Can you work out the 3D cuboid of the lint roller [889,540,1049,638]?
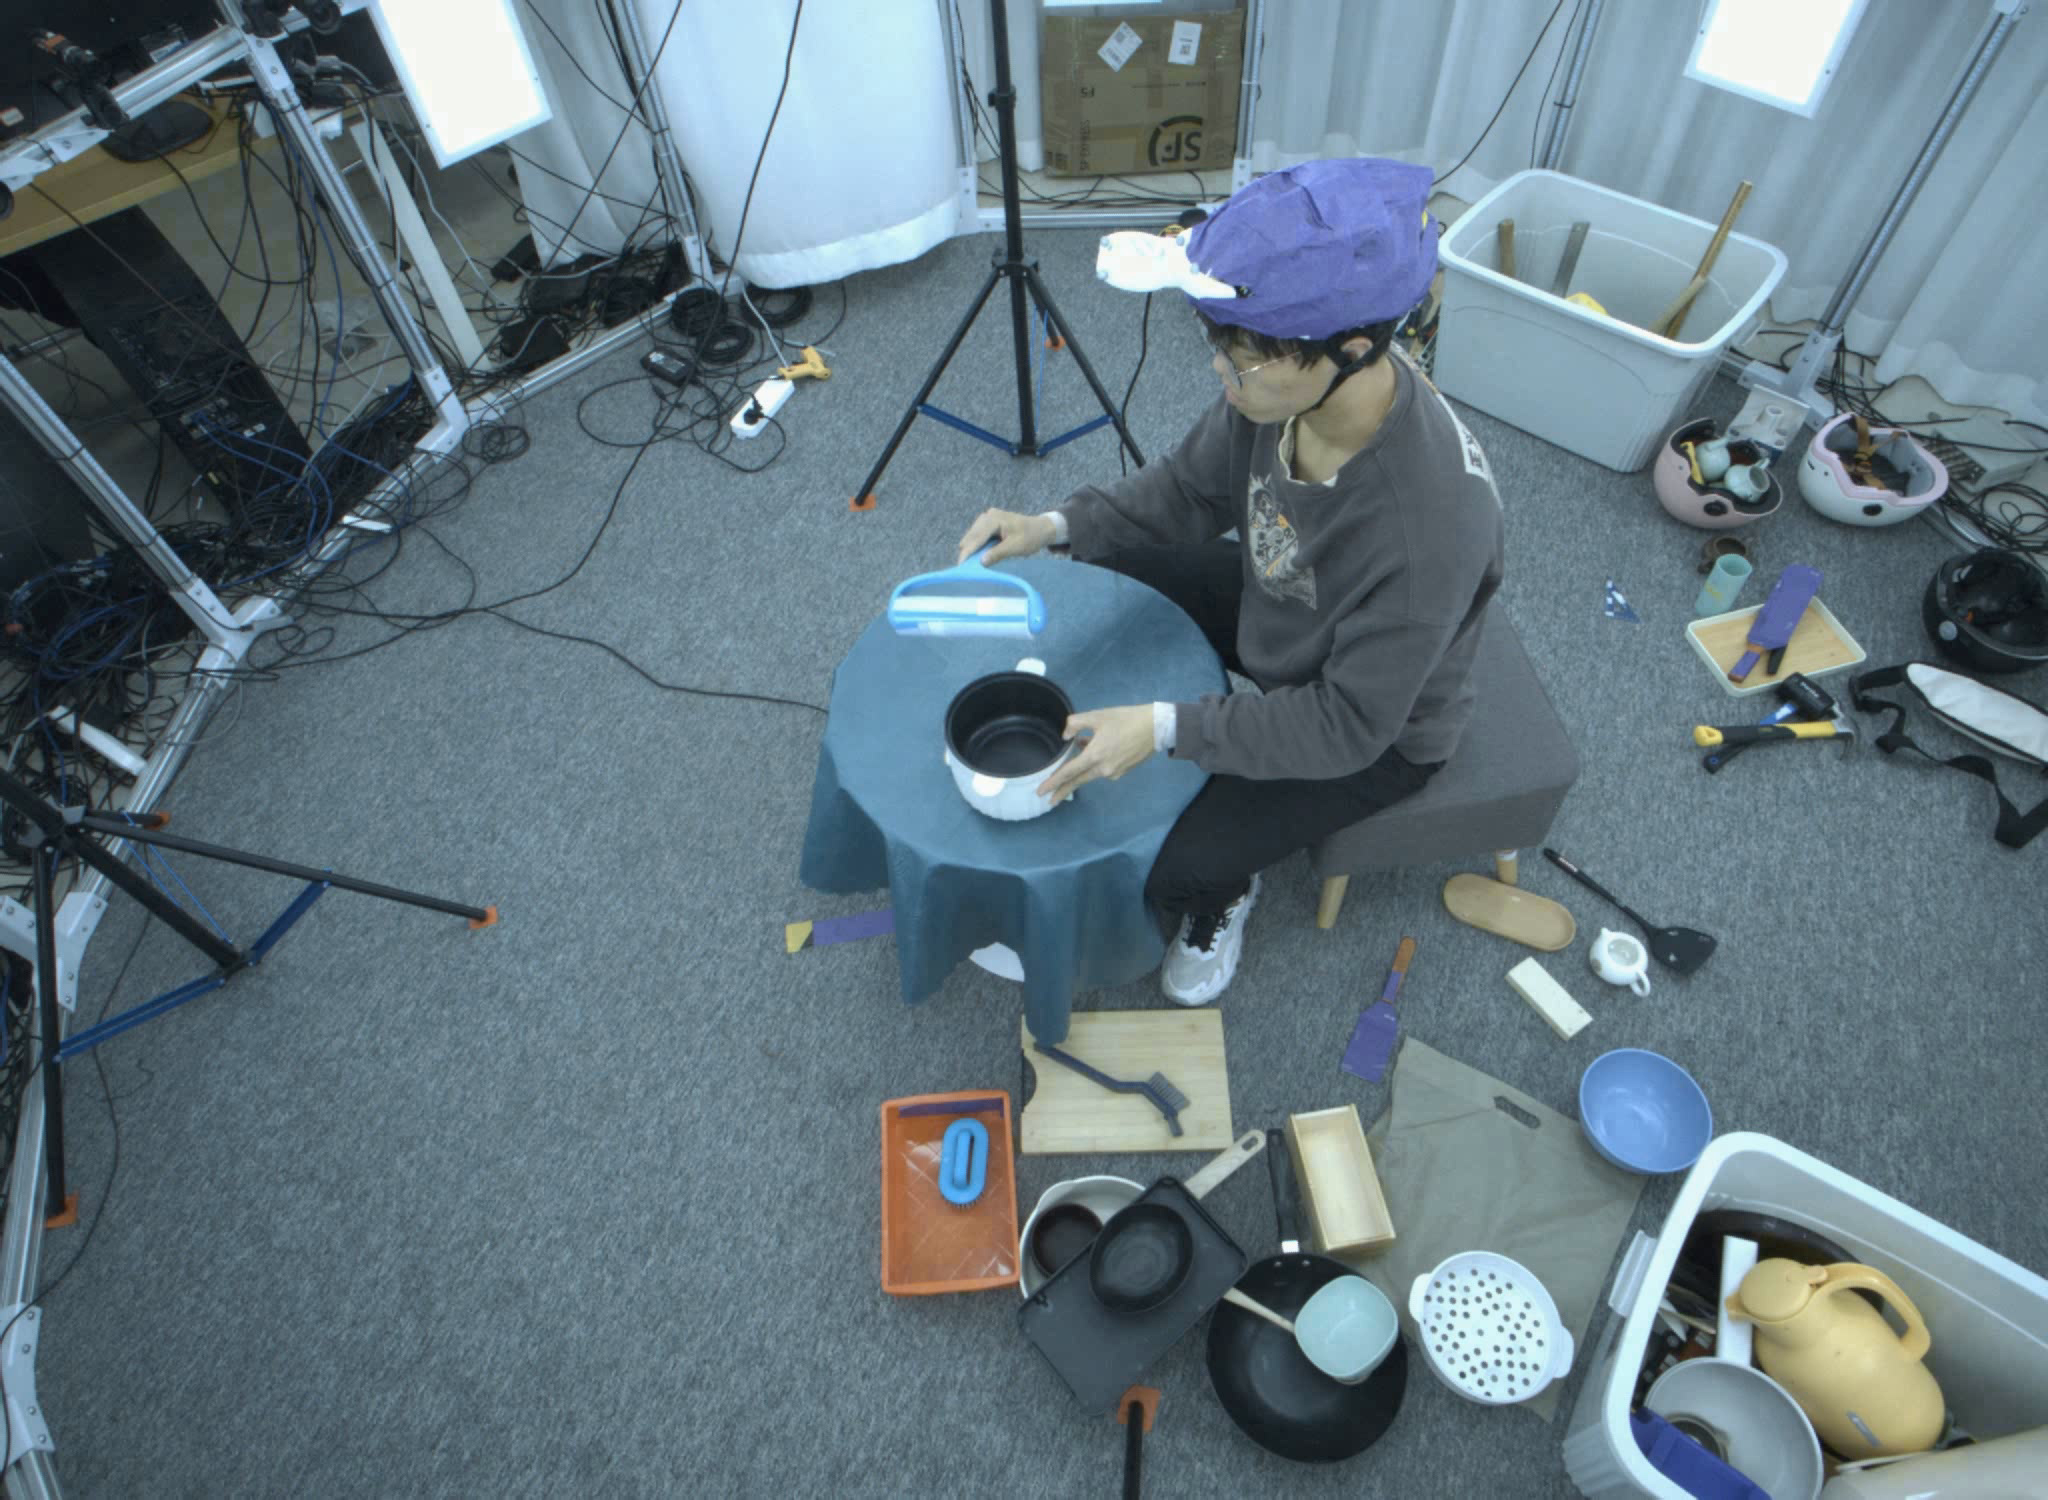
[{"bbox_3d":[-0.067,-0.231,1.669,0.226,0.069,0.179,0,62,18],"label":"lint roller"}]

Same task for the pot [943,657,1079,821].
[{"bbox_3d":[-0.020,0.002,1.698,0.189,0.144,0.239,13,54,8],"label":"pot"}]
